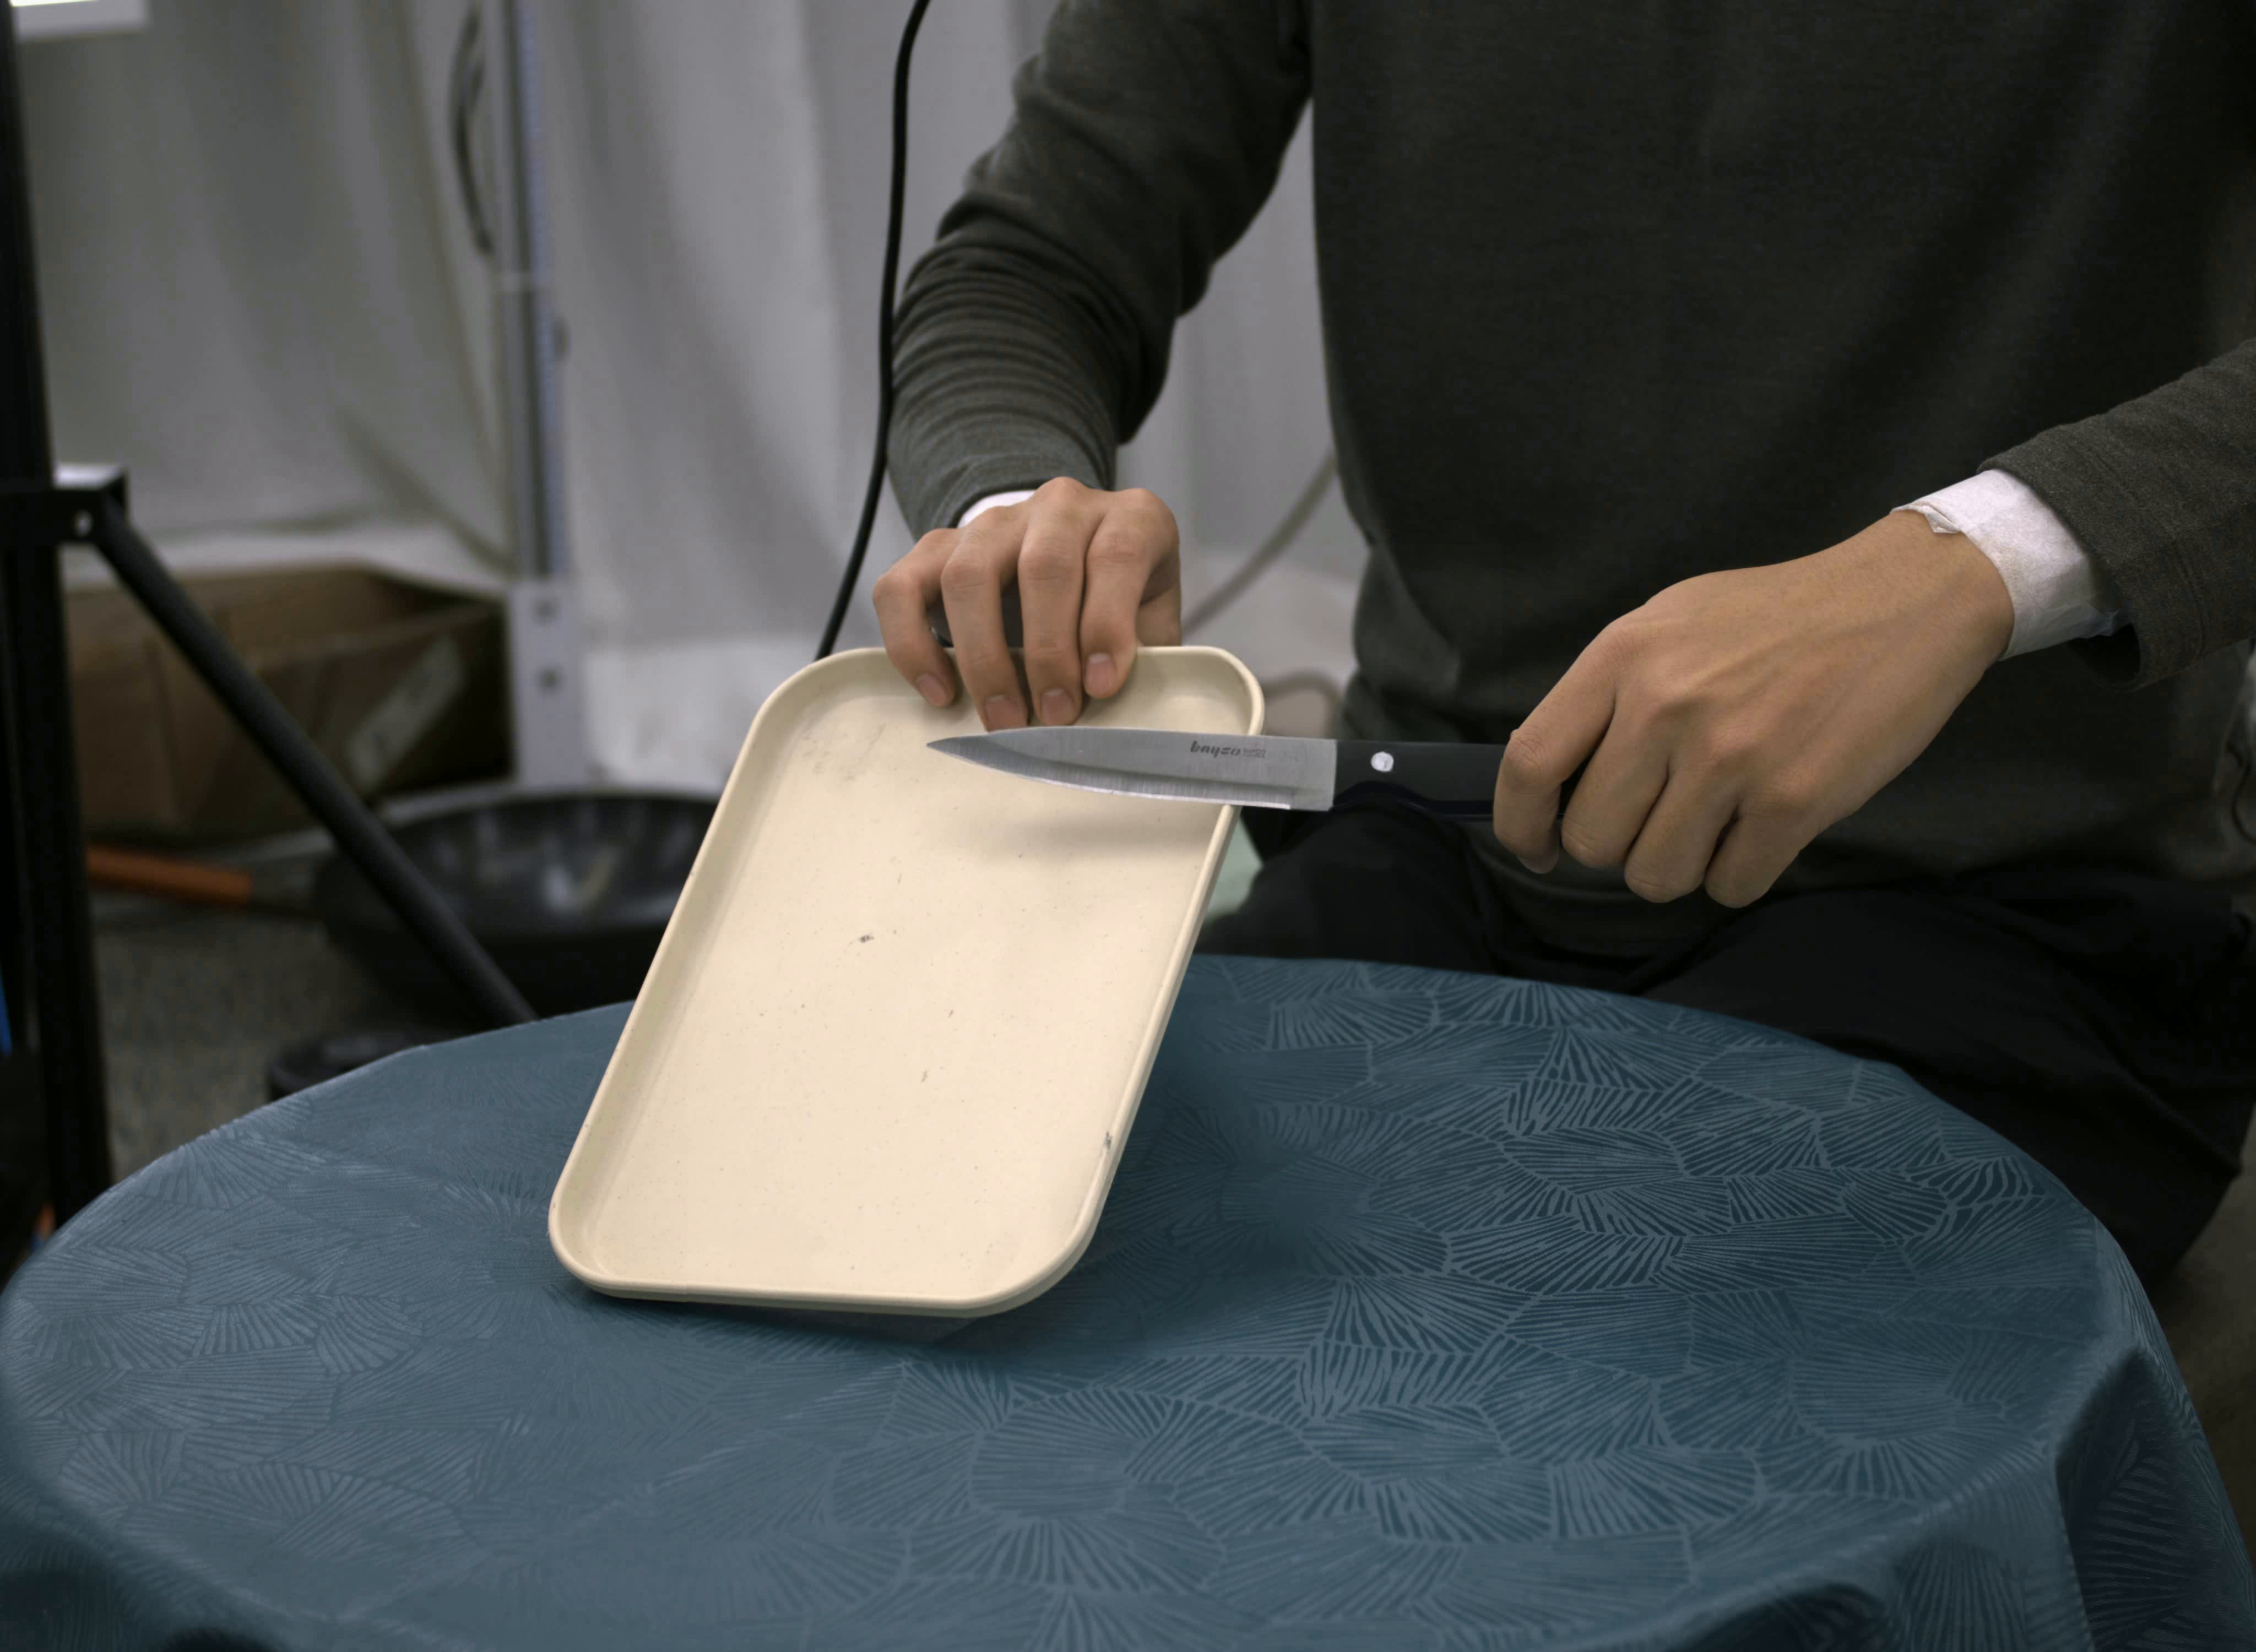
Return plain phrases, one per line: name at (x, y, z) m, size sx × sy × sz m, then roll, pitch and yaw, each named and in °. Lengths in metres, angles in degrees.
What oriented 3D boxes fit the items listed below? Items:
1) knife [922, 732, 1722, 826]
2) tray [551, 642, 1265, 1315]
knife at (0.053, -0.016, 1.521) m, size 0.241 × 0.024 × 0.016 m, roll 3°, pitch -24°, yaw 20°
tray at (-0.060, 0.042, 1.536) m, size 0.174 × 0.017 × 0.240 m, roll 0°, pitch 51°, yaw 27°
